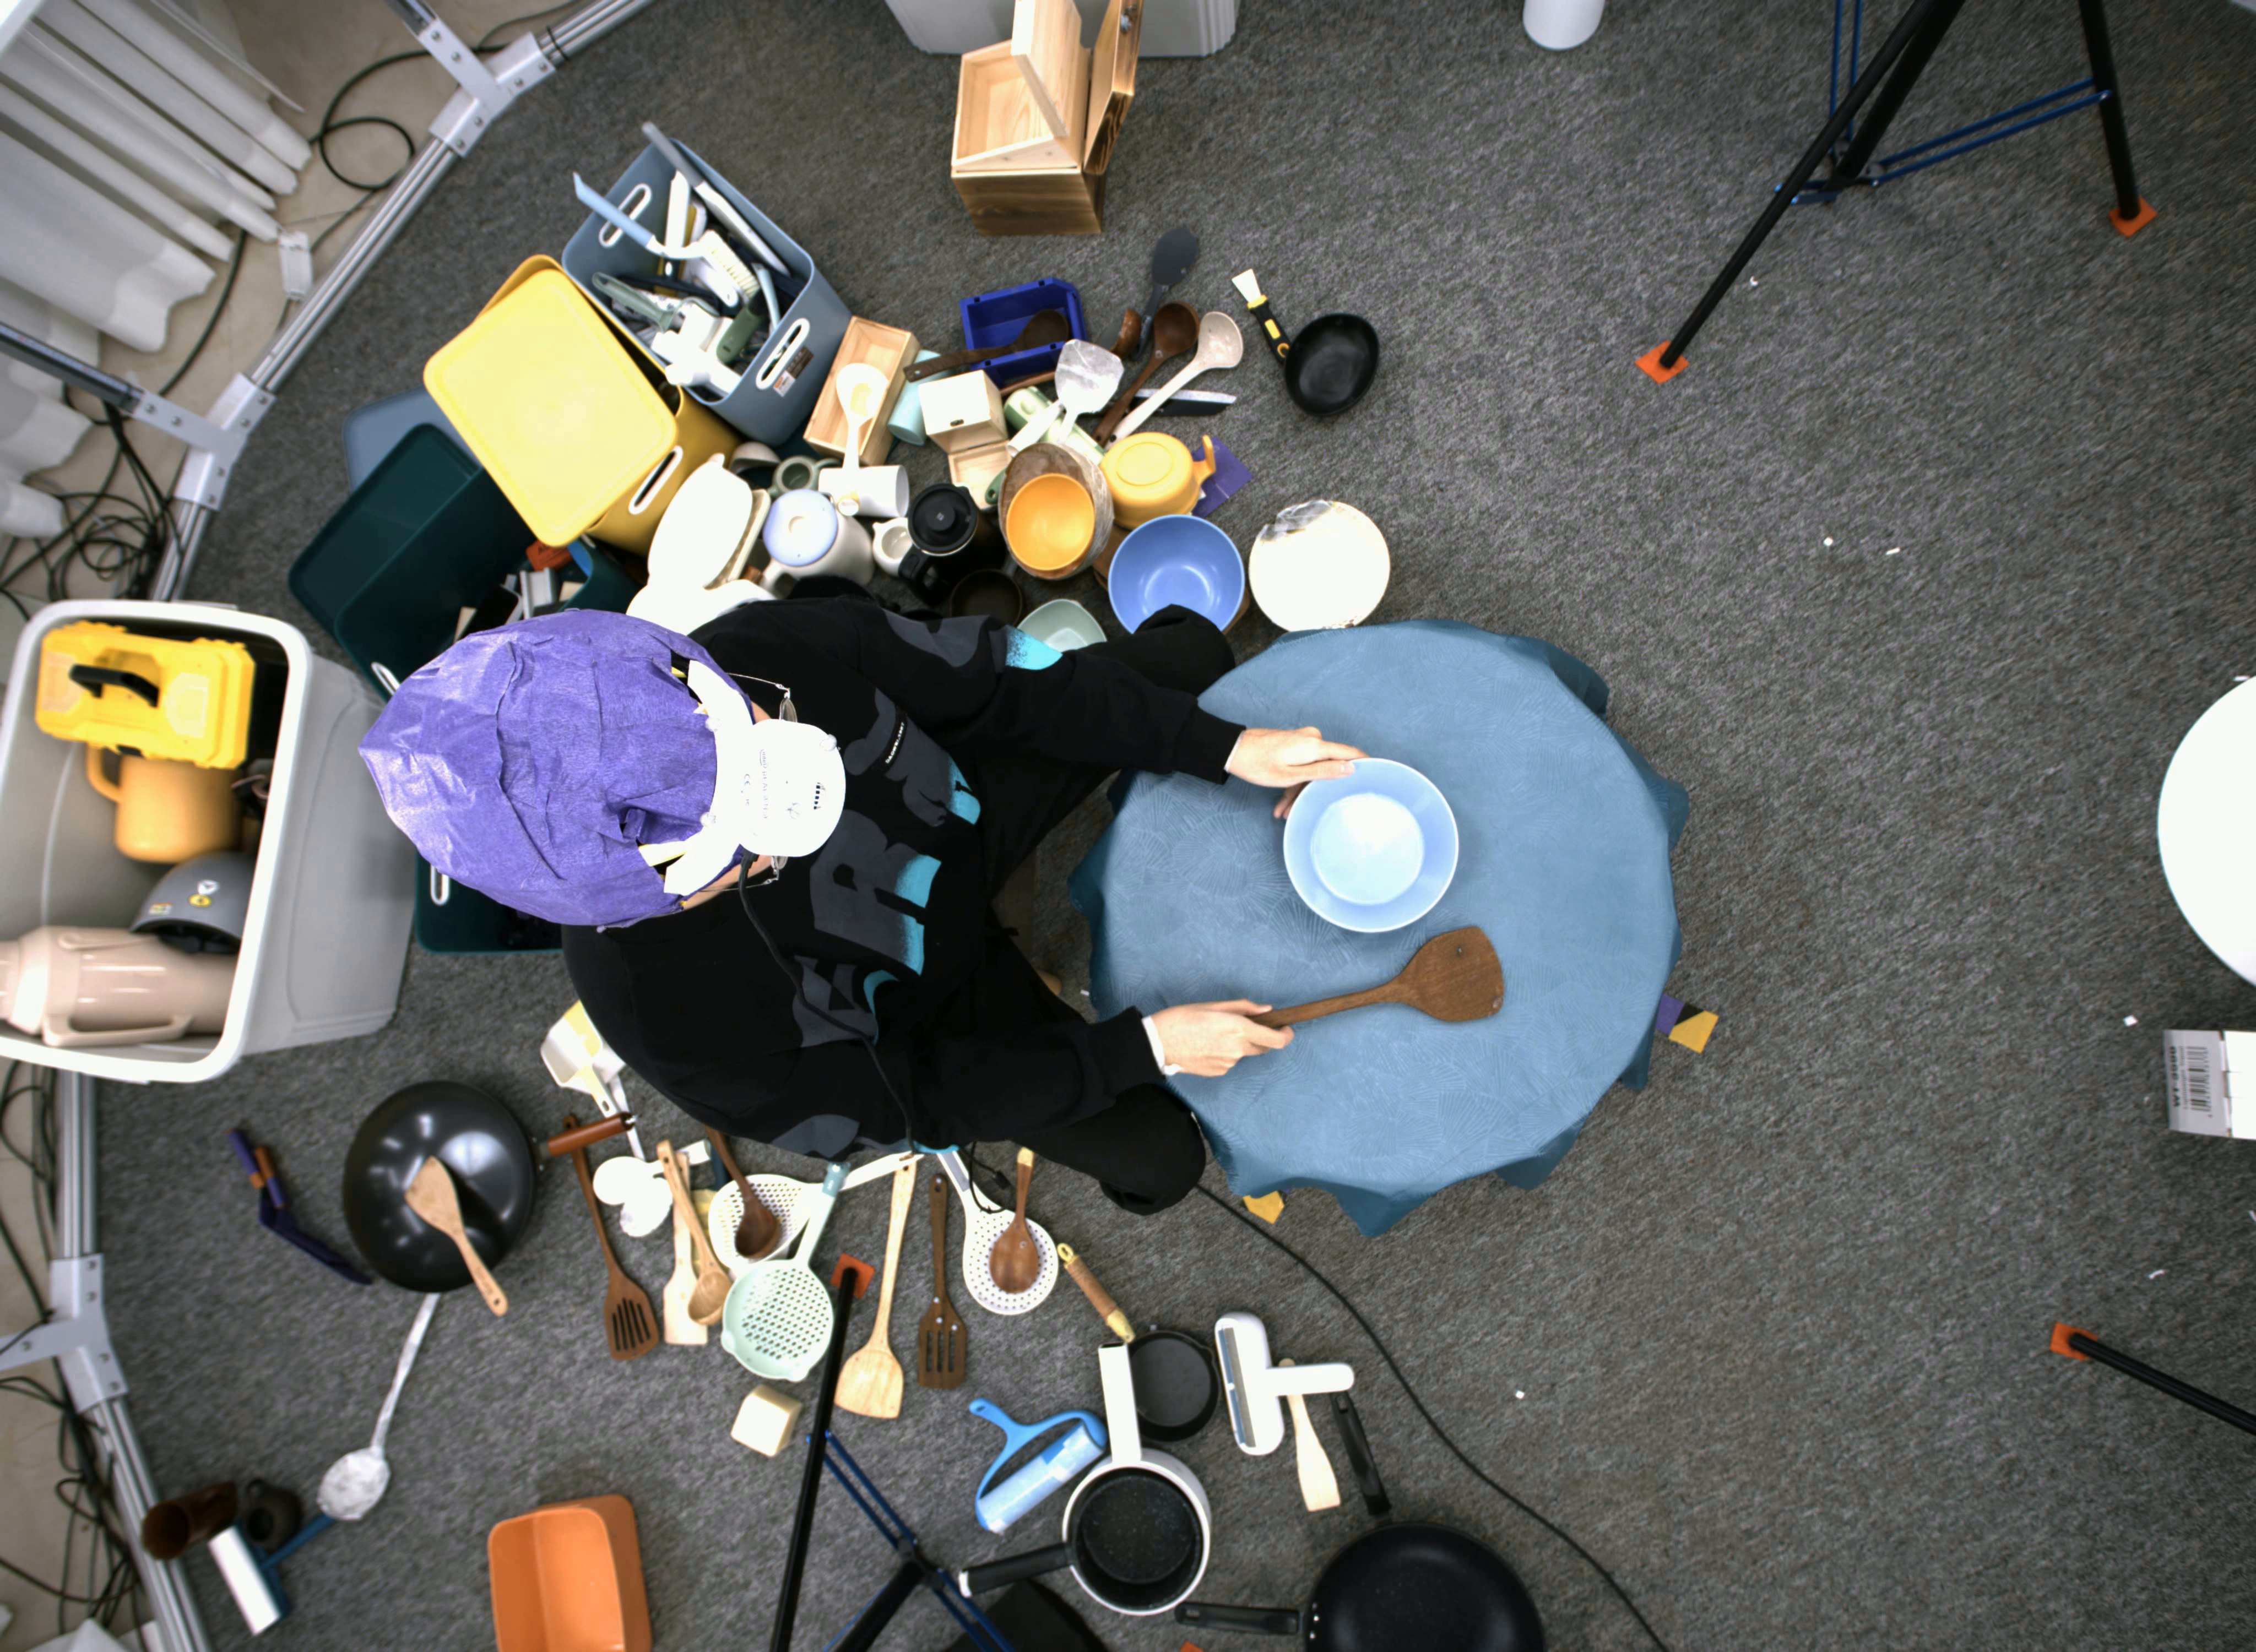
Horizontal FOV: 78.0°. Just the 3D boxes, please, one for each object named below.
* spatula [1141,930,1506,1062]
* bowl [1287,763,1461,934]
[{"bbox_3d":[0.202,0.190,1.437,0.386,0.016,0.095,-13,82,0],"label":"spatula"},{"bbox_3d":[0.253,0.024,1.431,0.176,0.070,0.175,-1,86,8],"label":"bowl"}]
